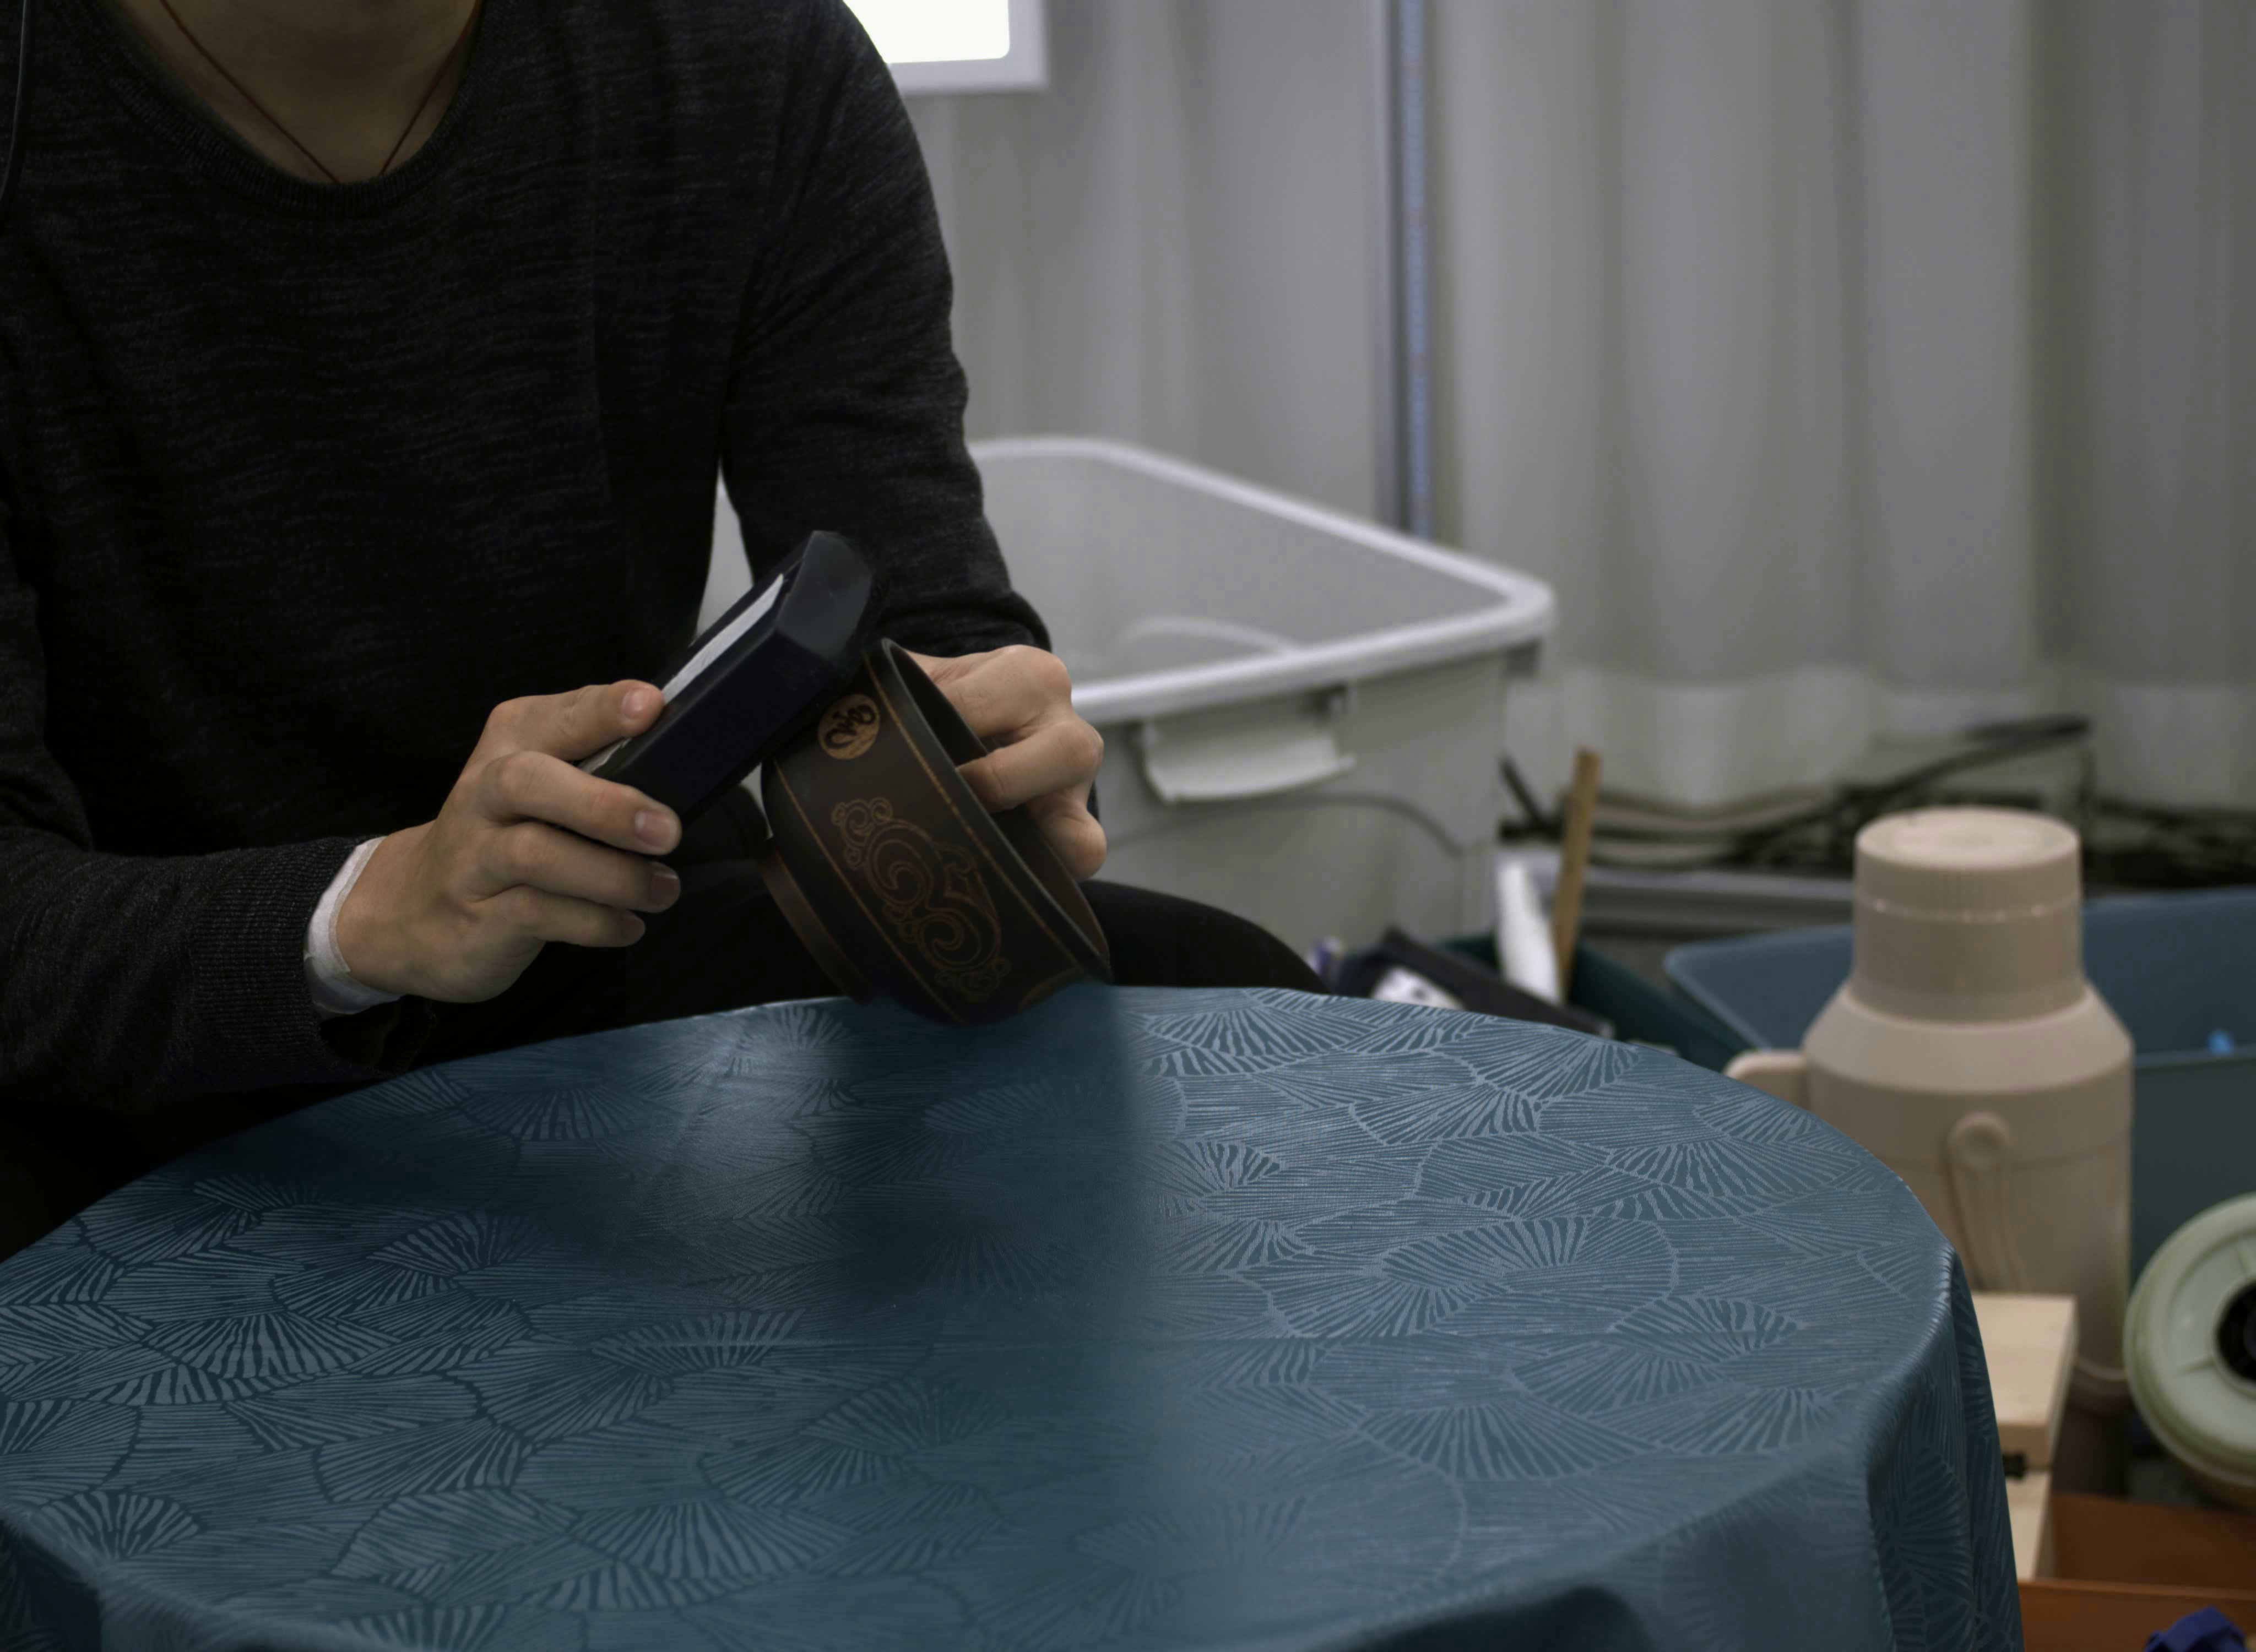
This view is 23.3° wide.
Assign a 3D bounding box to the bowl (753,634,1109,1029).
[{"bbox_3d":[-0.066,0.010,1.603,0.070,0.117,0.119,-37,14,5],"label":"bowl"}]

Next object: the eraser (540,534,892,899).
[{"bbox_3d":[-0.120,-0.032,1.599,0.125,0.030,0.054,-41,16,34],"label":"eraser"}]
